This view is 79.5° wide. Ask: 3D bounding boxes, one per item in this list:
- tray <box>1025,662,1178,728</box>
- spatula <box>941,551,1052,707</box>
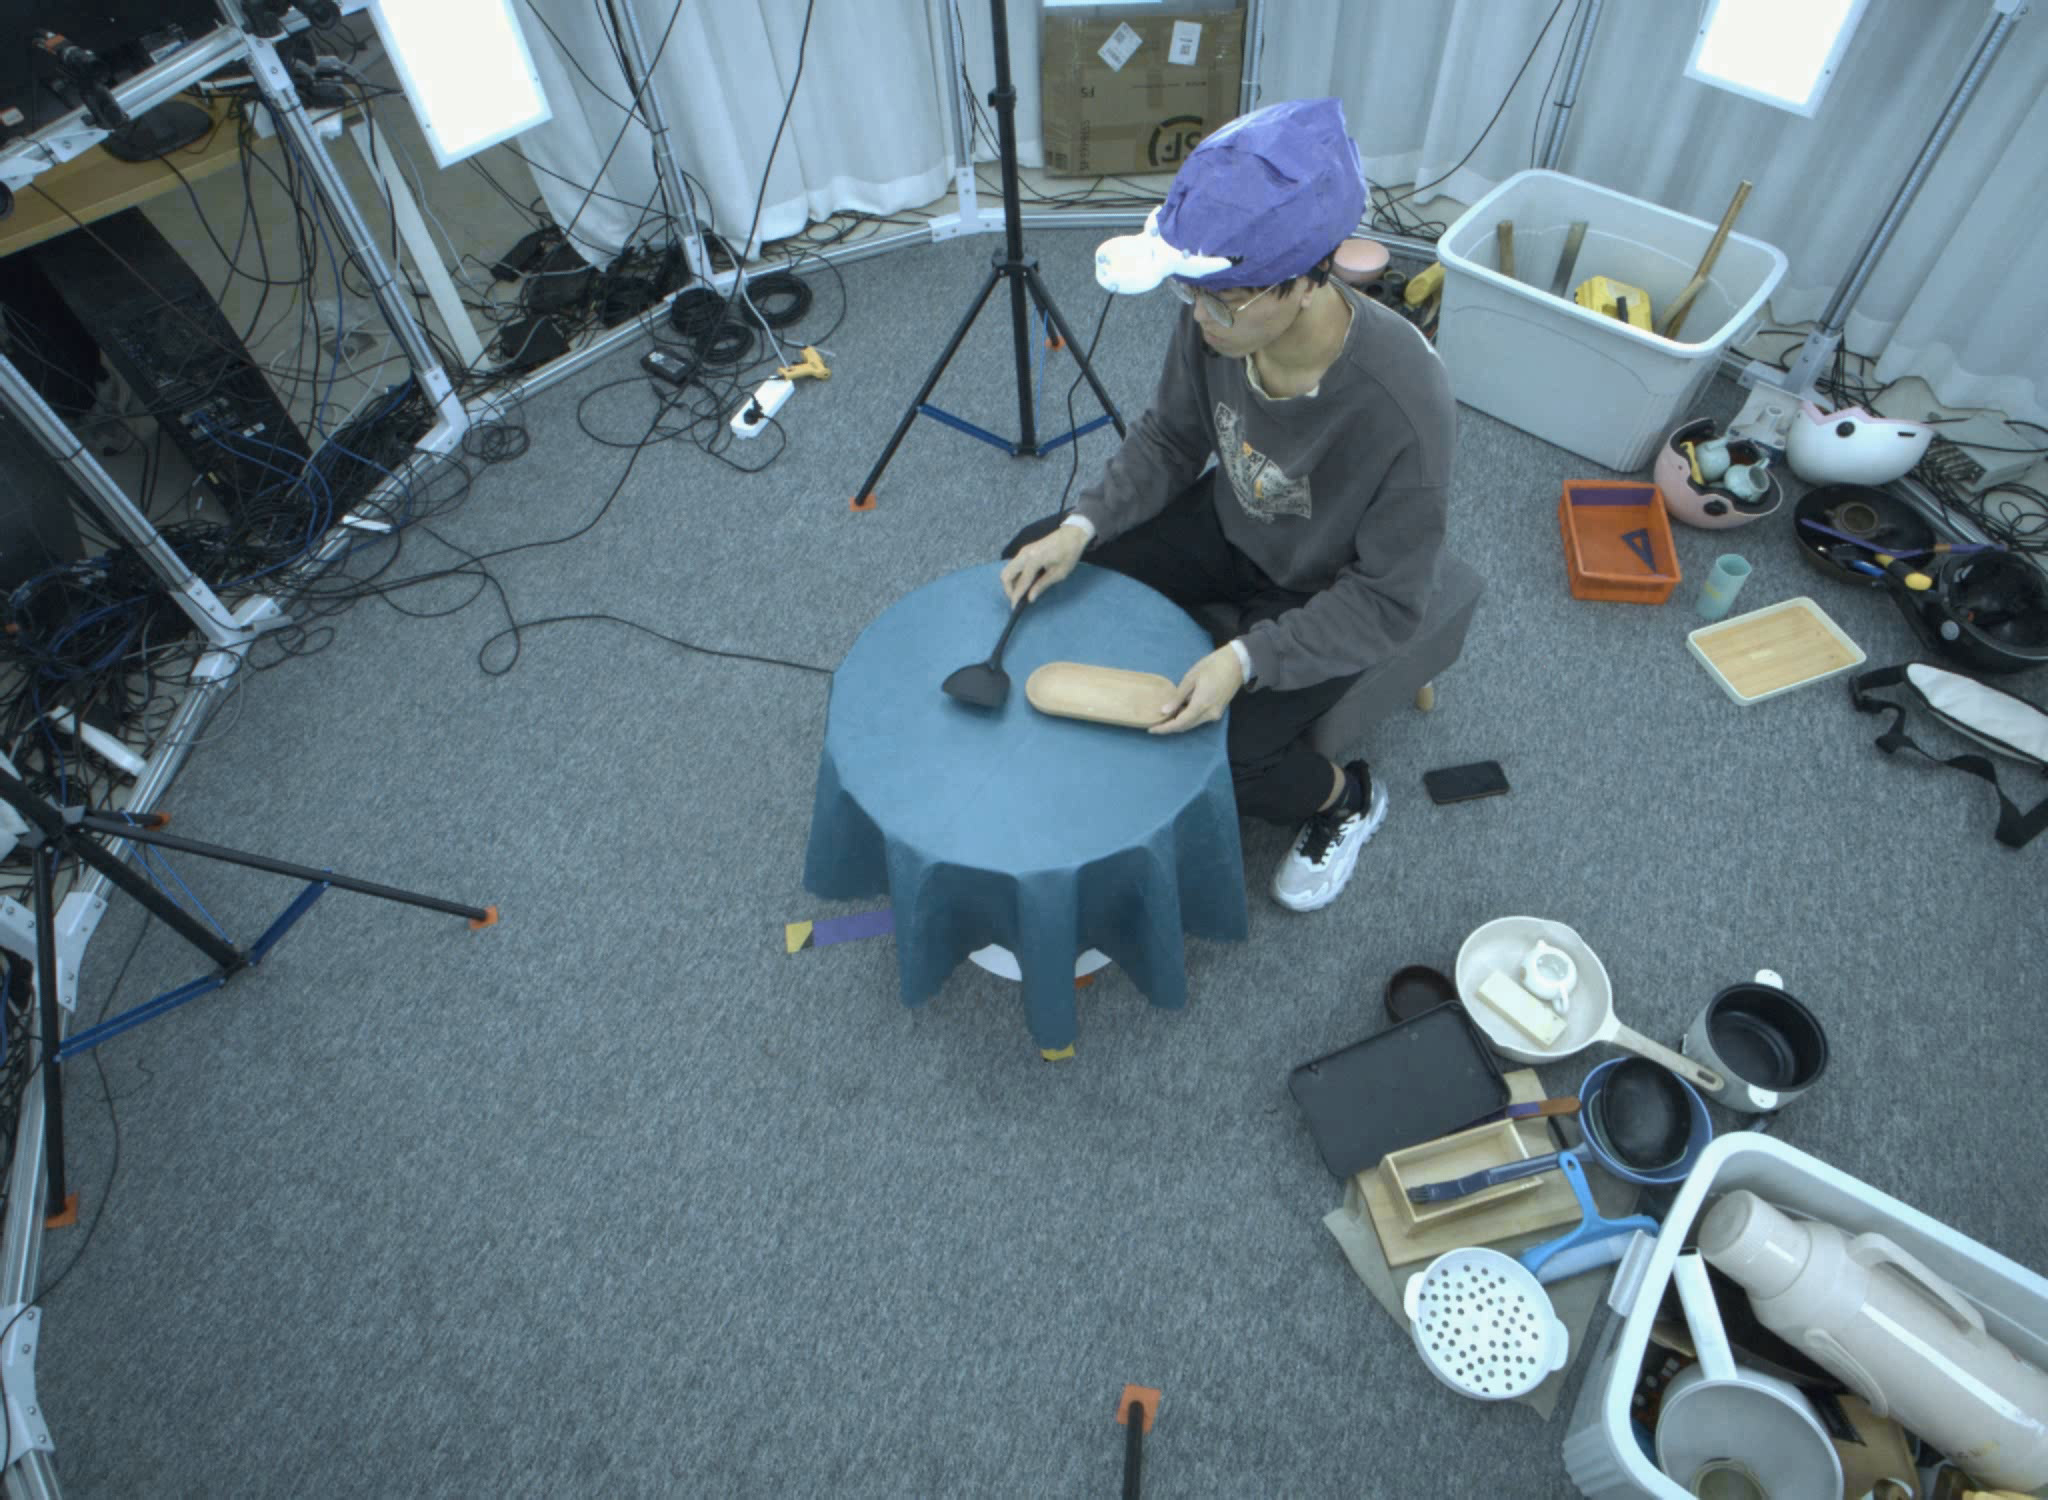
[{"bbox_3d":[0.114,-0.081,1.820,0.229,0.020,0.101,8,50,14],"label":"tray"},{"bbox_3d":[-0.022,-0.195,1.893,0.099,0.041,0.326,17,63,14],"label":"spatula"}]
